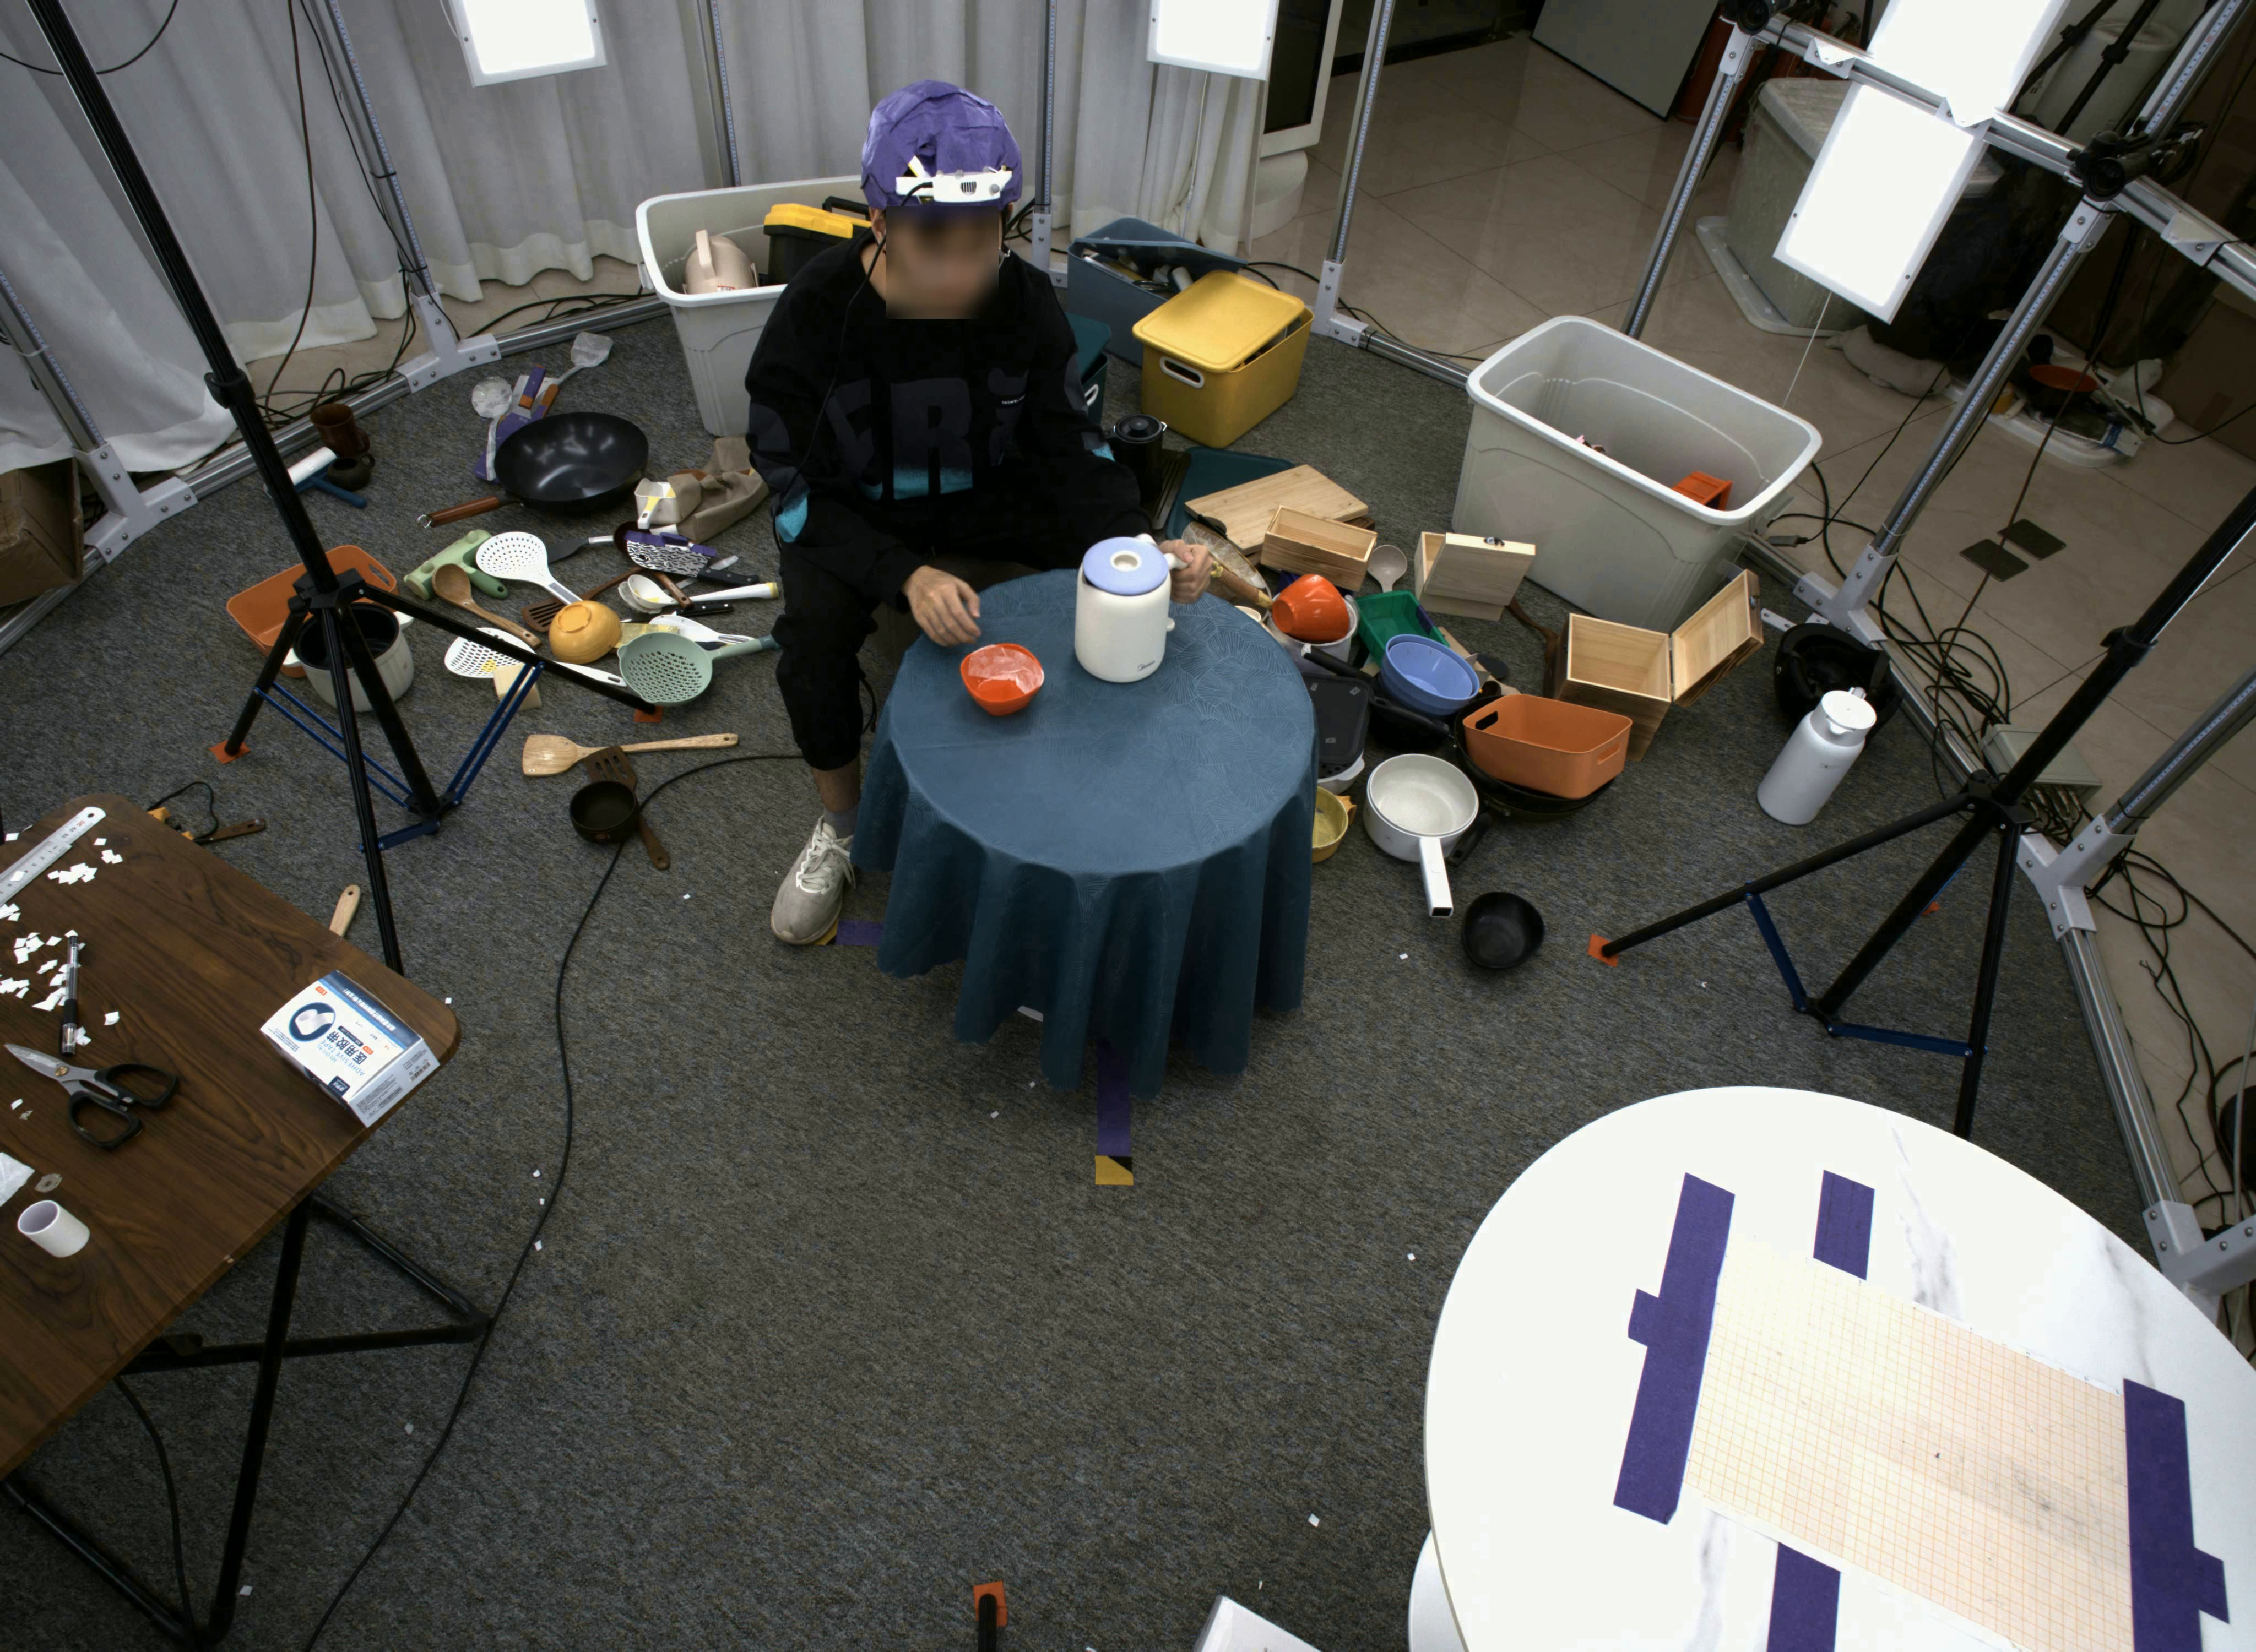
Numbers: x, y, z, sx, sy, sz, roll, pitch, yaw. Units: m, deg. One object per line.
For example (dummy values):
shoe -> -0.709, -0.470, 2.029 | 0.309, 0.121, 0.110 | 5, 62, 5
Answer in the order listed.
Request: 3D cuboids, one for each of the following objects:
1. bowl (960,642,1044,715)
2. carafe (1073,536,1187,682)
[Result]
bowl -> -0.175, -0.200, 1.796 | 0.119, 0.050, 0.122 | 1, 52, -2
carafe -> 0.010, -0.317, 1.834 | 0.192, 0.178, 0.134 | -27, 58, -27
